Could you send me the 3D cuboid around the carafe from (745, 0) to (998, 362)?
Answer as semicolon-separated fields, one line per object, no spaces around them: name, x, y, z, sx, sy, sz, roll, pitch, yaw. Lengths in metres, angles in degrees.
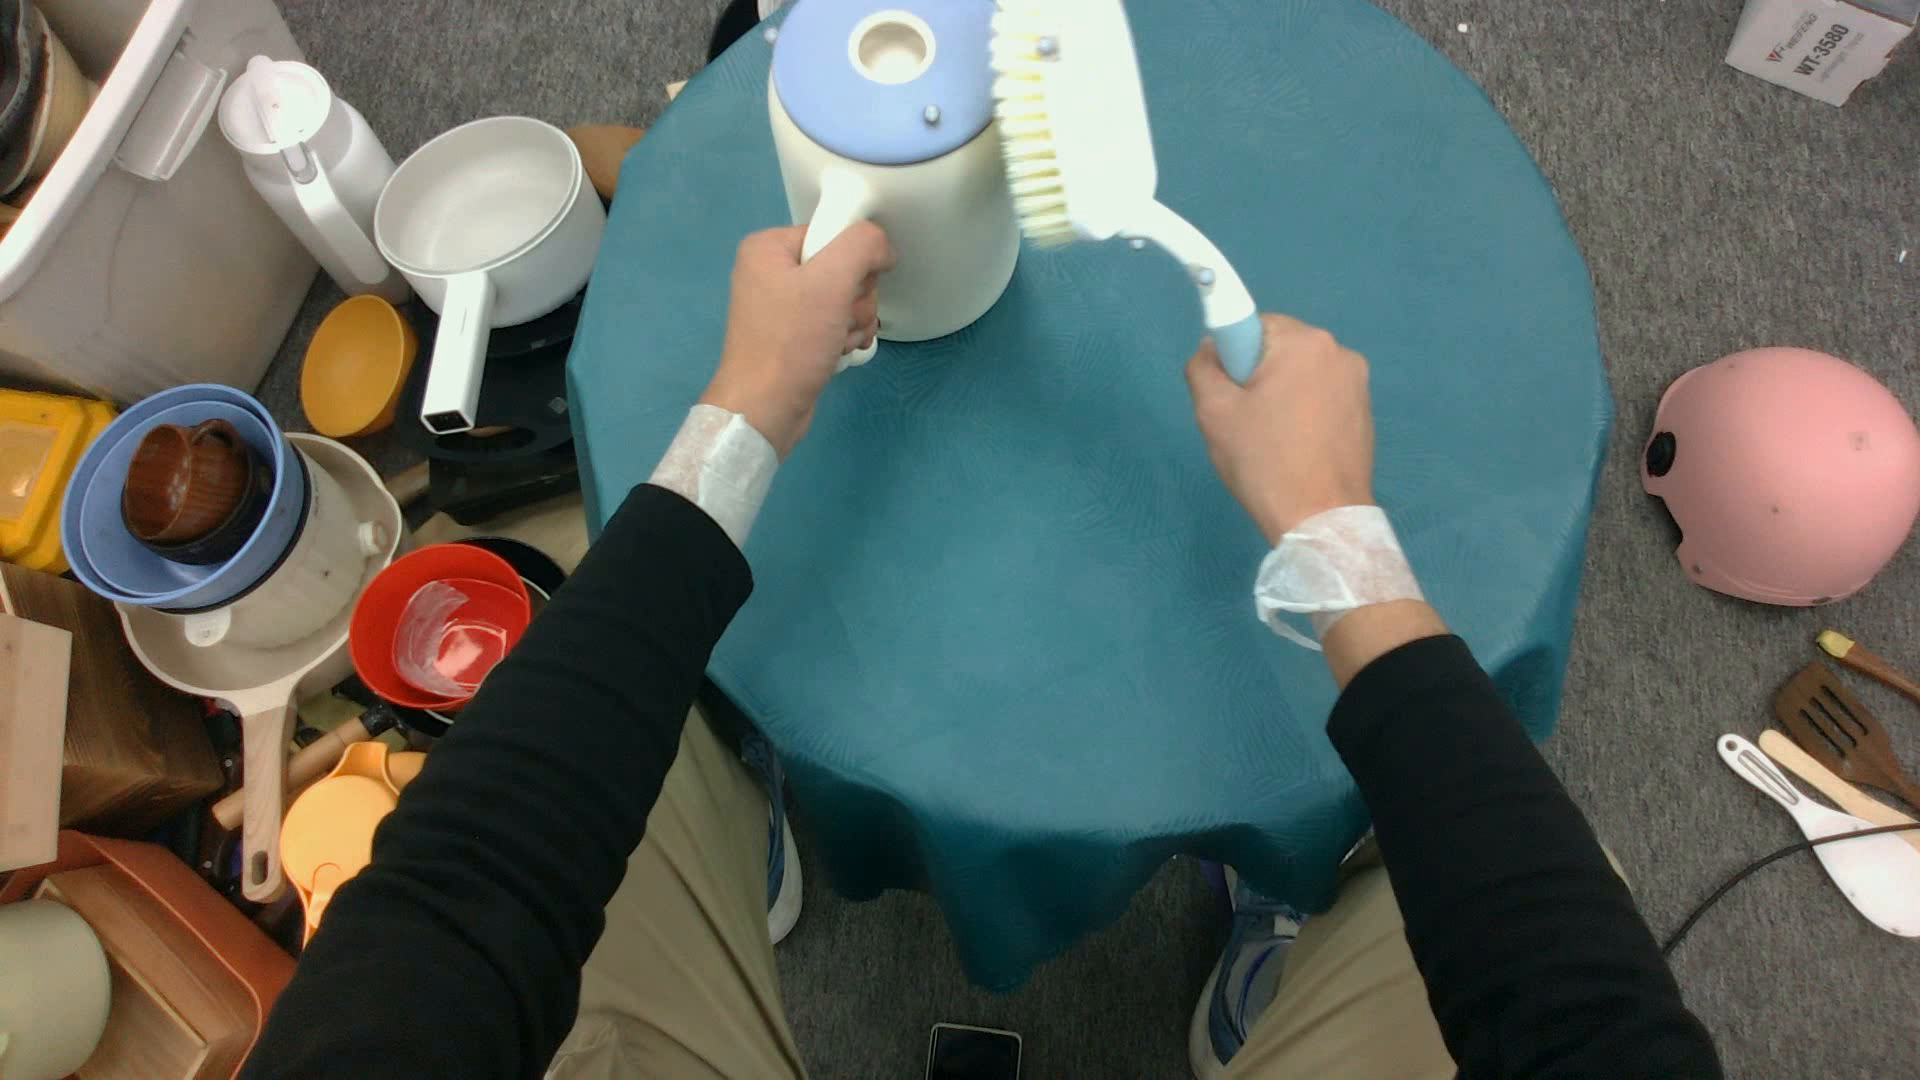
carafe;-0.052;-0.190;0.741;0.132;0.182;0.191;17;72;7

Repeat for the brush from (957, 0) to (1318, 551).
brush;0.078;-0.128;0.690;0.083;0.084;0.325;-29;107;-4
